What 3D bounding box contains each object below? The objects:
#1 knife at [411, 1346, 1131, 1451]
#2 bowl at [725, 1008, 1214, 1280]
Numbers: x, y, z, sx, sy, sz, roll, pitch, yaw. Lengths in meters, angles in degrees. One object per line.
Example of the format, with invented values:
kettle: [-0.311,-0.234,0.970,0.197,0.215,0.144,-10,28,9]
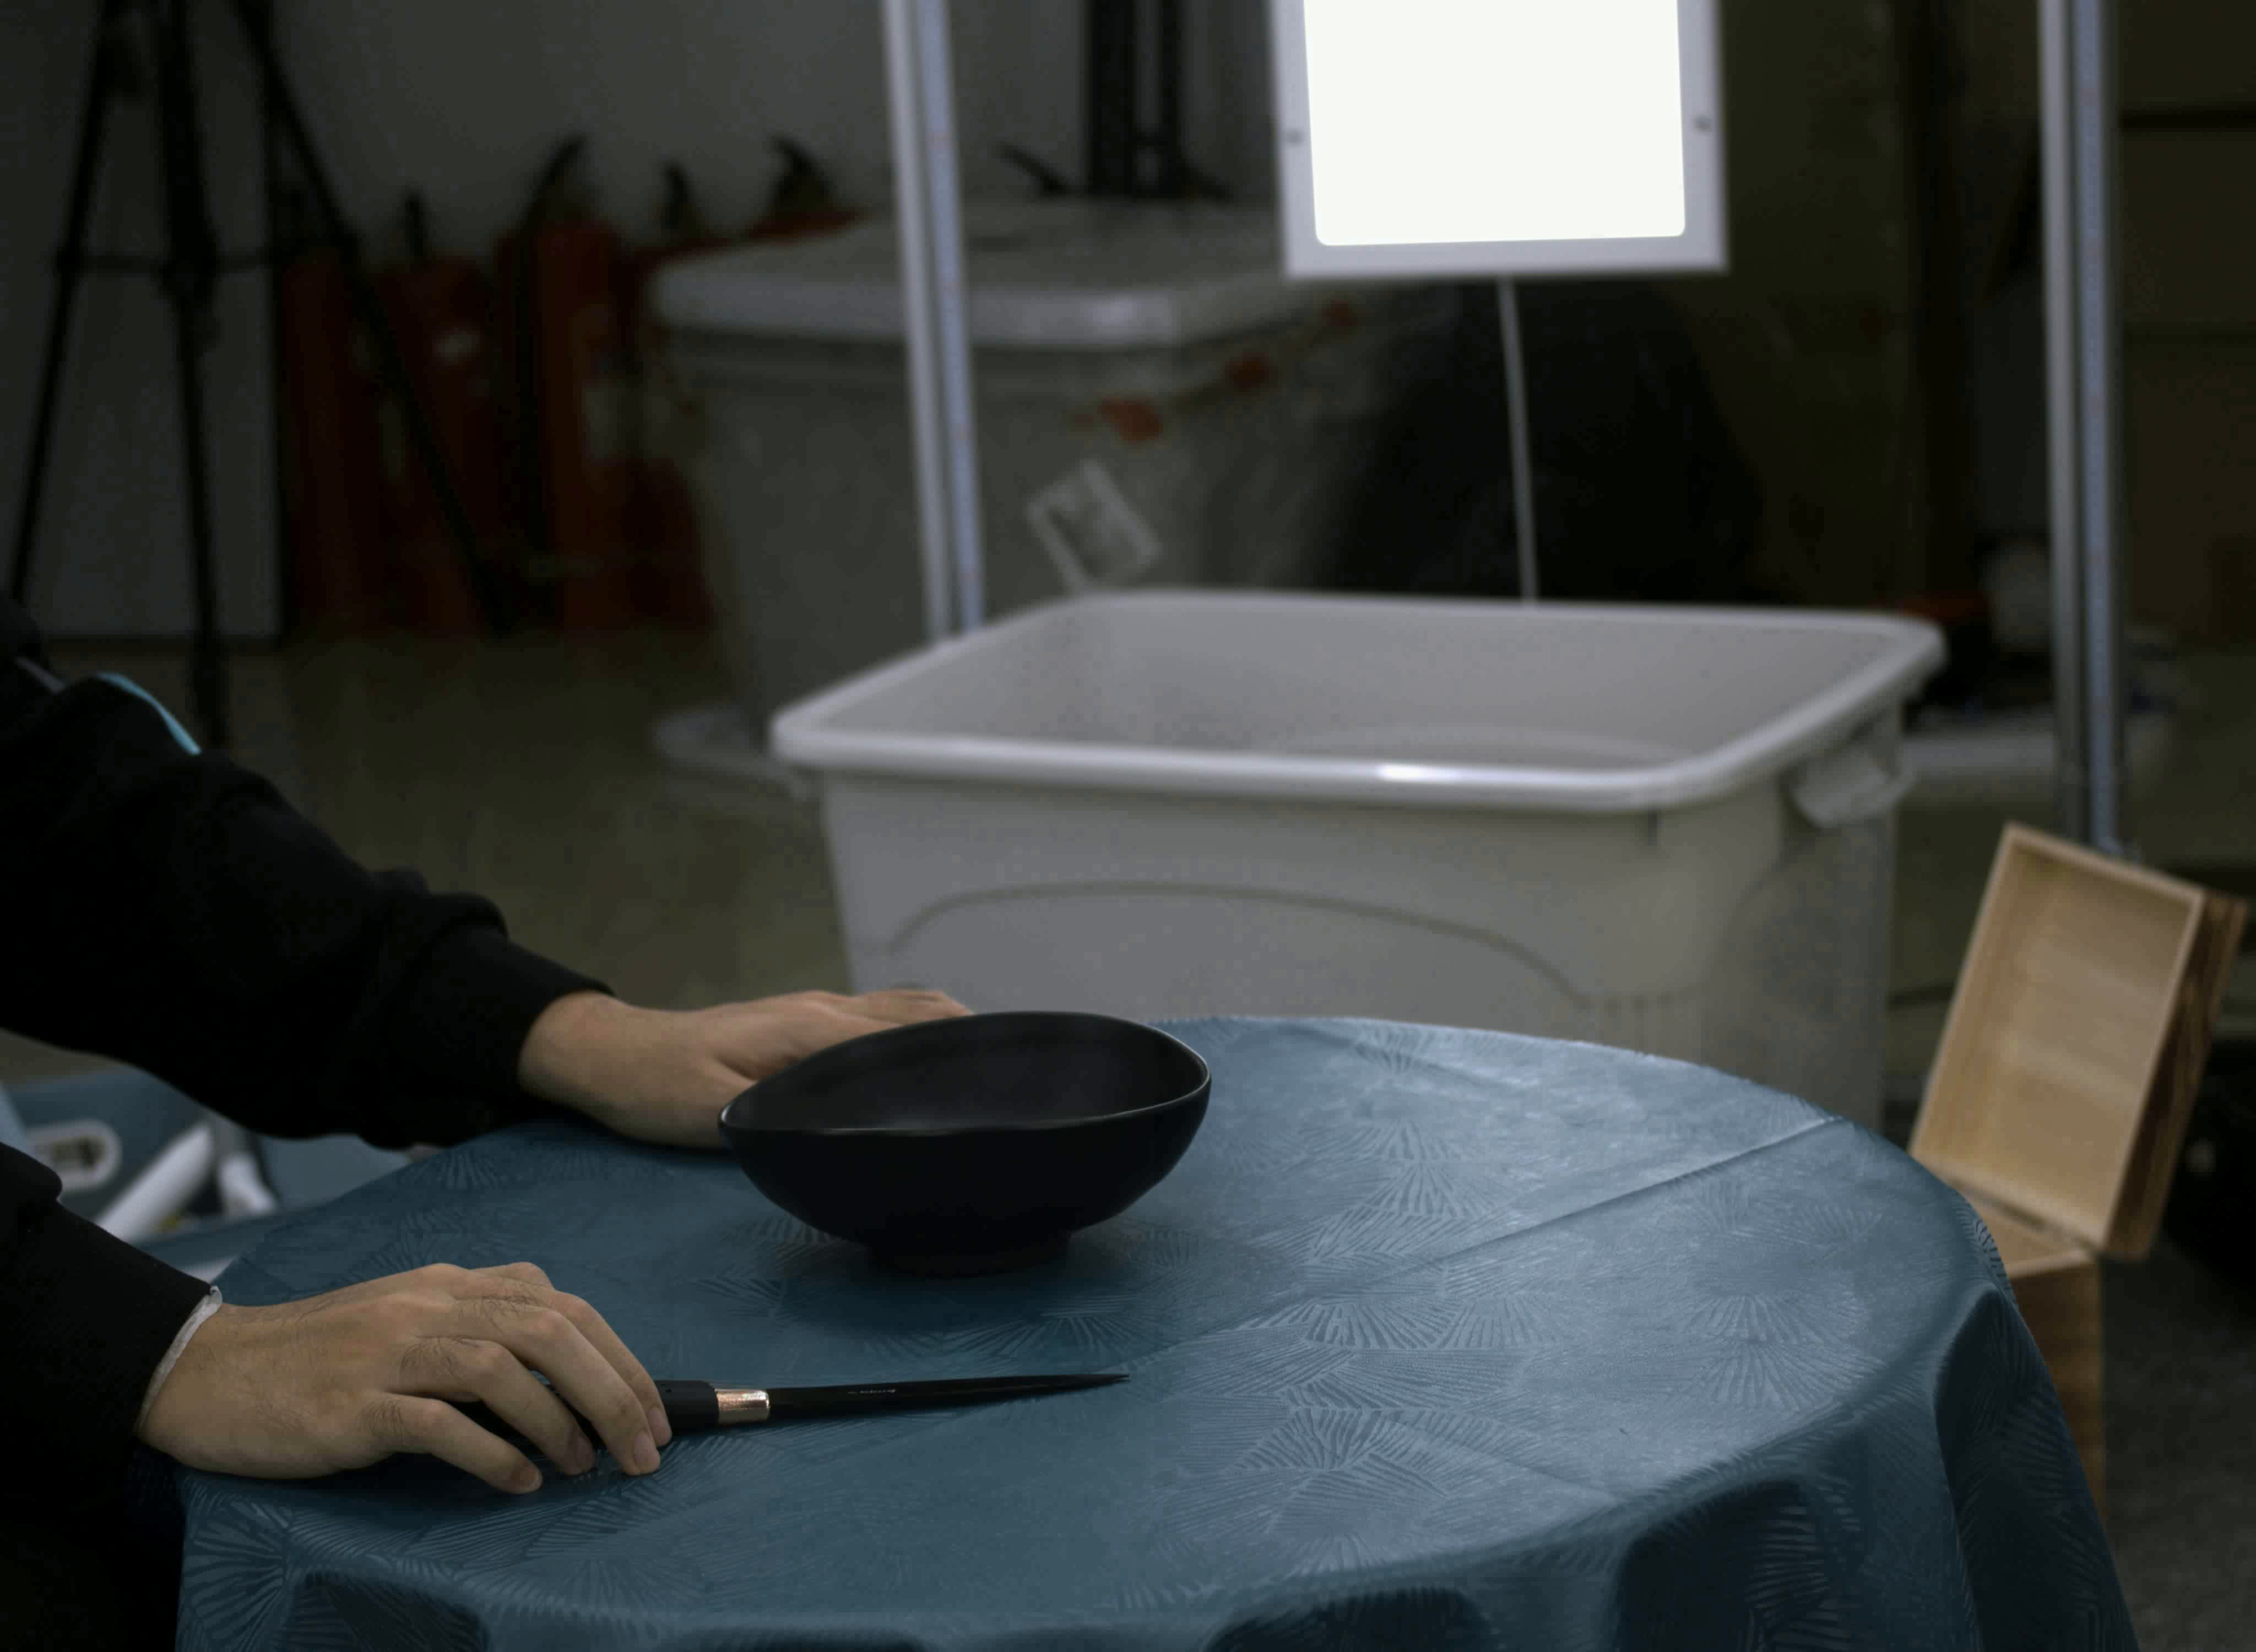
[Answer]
knife: [-0.109,0.176,1.711,0.224,0.017,0.026,-5,16,-3]
bowl: [-0.052,0.111,1.844,0.172,0.067,0.135,-4,13,15]
